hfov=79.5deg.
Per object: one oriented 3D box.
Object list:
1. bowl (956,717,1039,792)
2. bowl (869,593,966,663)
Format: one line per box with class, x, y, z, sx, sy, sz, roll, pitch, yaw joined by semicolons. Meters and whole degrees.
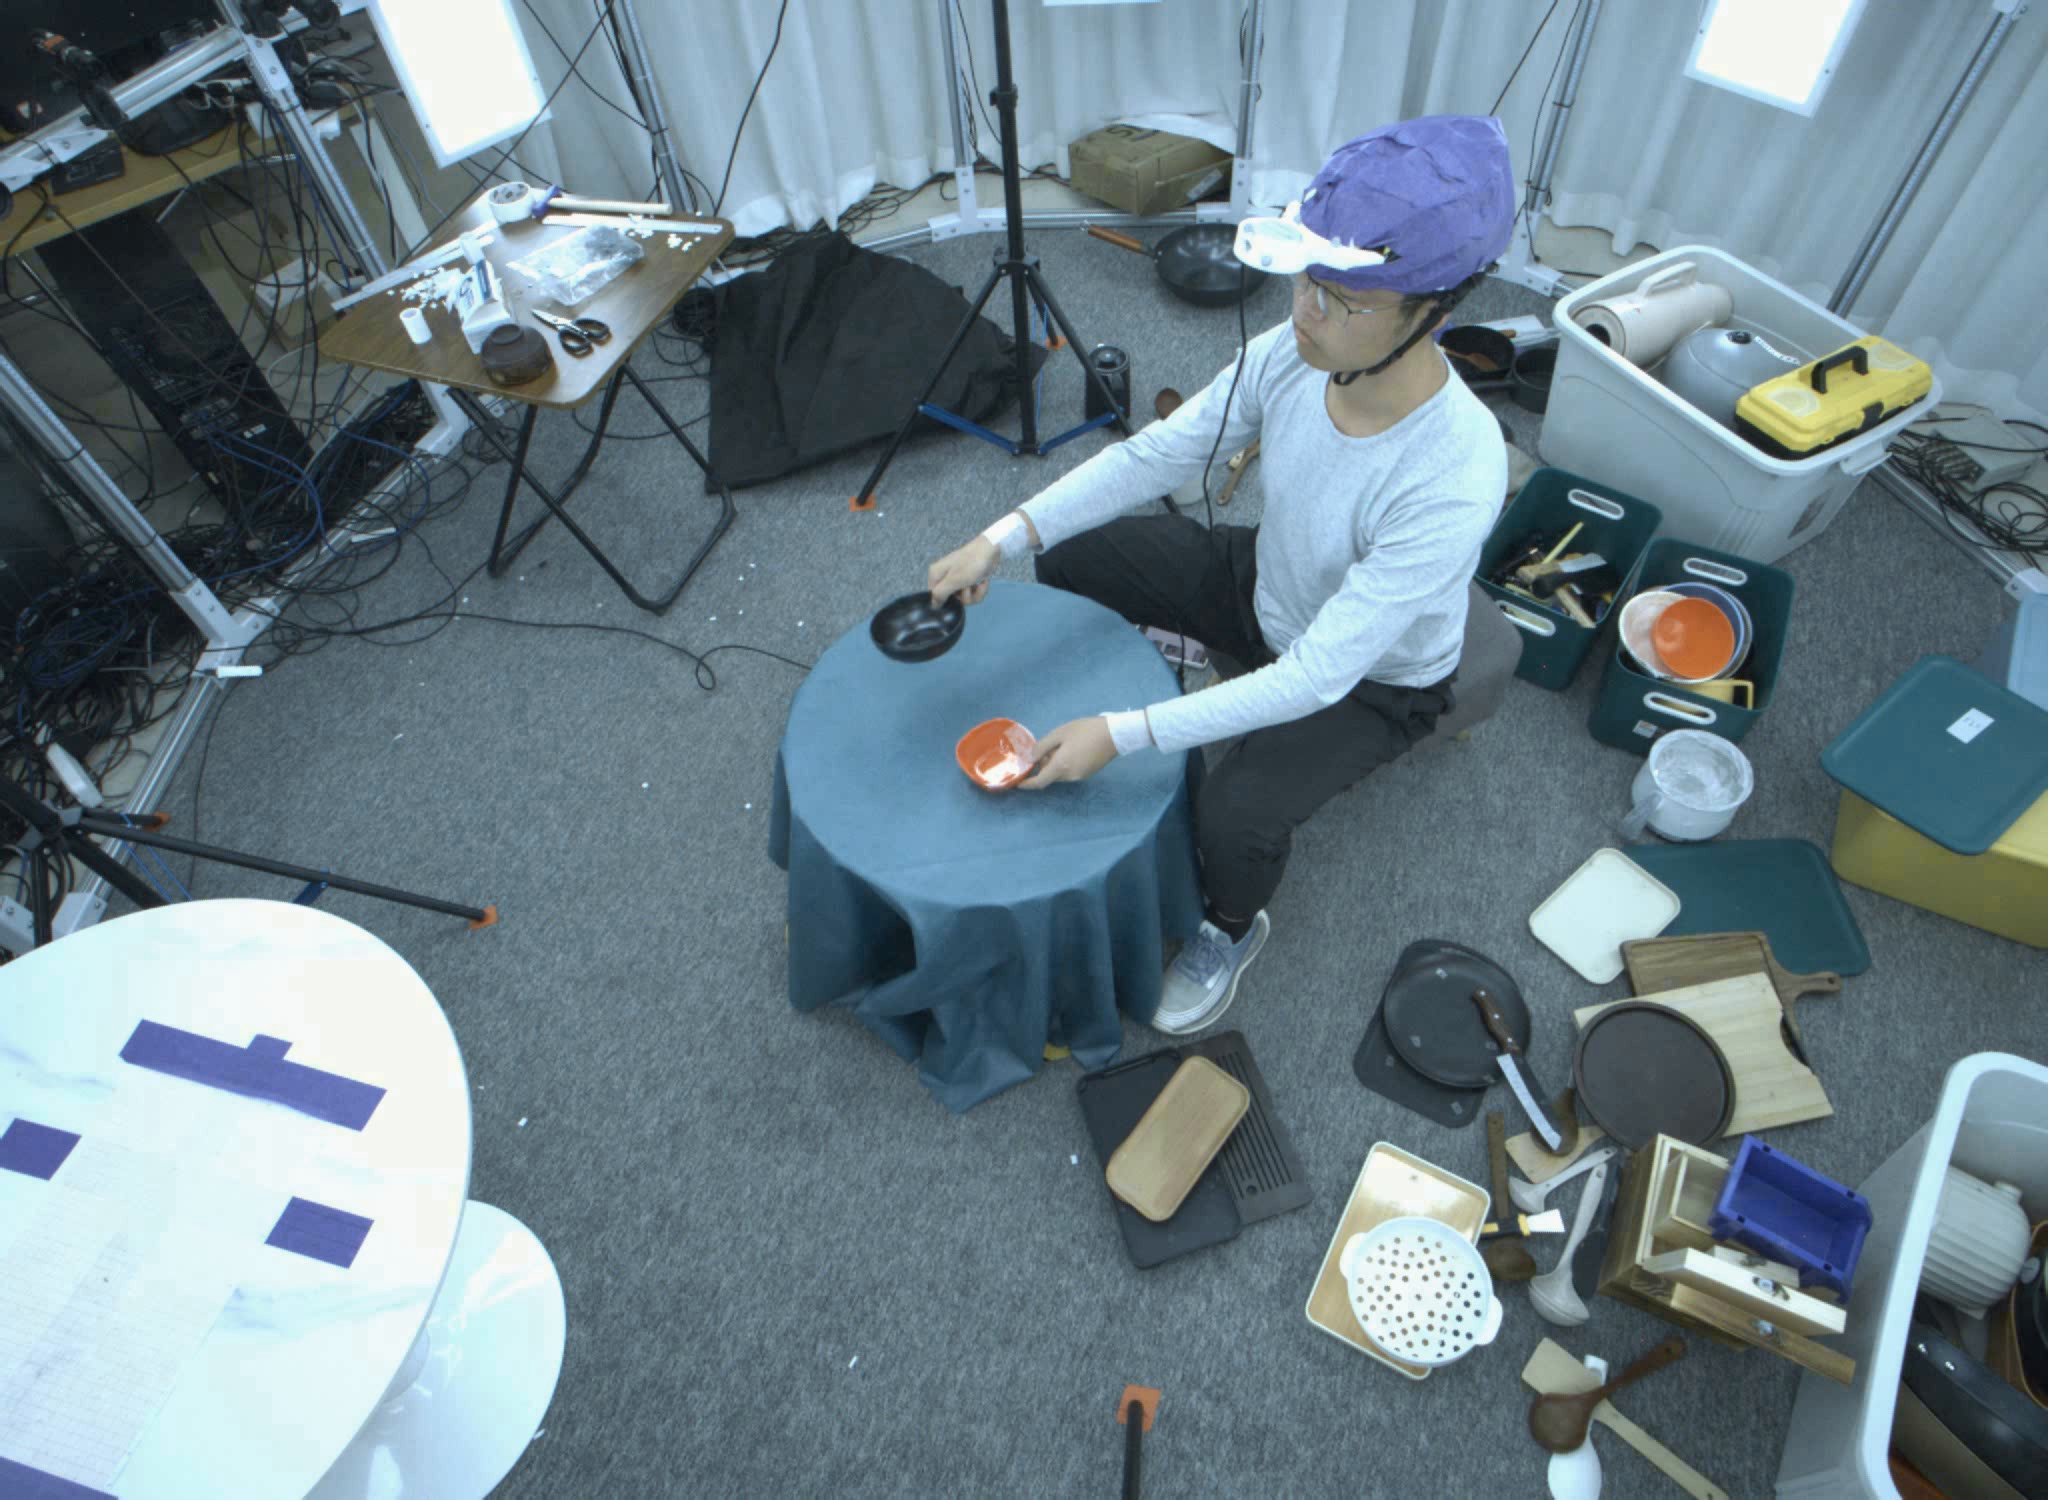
bowl;-0.036;0.014;1.752;0.118;0.052;0.118;-2;55;4
bowl;-0.147;-0.164;1.735;0.139;0.050;0.138;-4;41;5
